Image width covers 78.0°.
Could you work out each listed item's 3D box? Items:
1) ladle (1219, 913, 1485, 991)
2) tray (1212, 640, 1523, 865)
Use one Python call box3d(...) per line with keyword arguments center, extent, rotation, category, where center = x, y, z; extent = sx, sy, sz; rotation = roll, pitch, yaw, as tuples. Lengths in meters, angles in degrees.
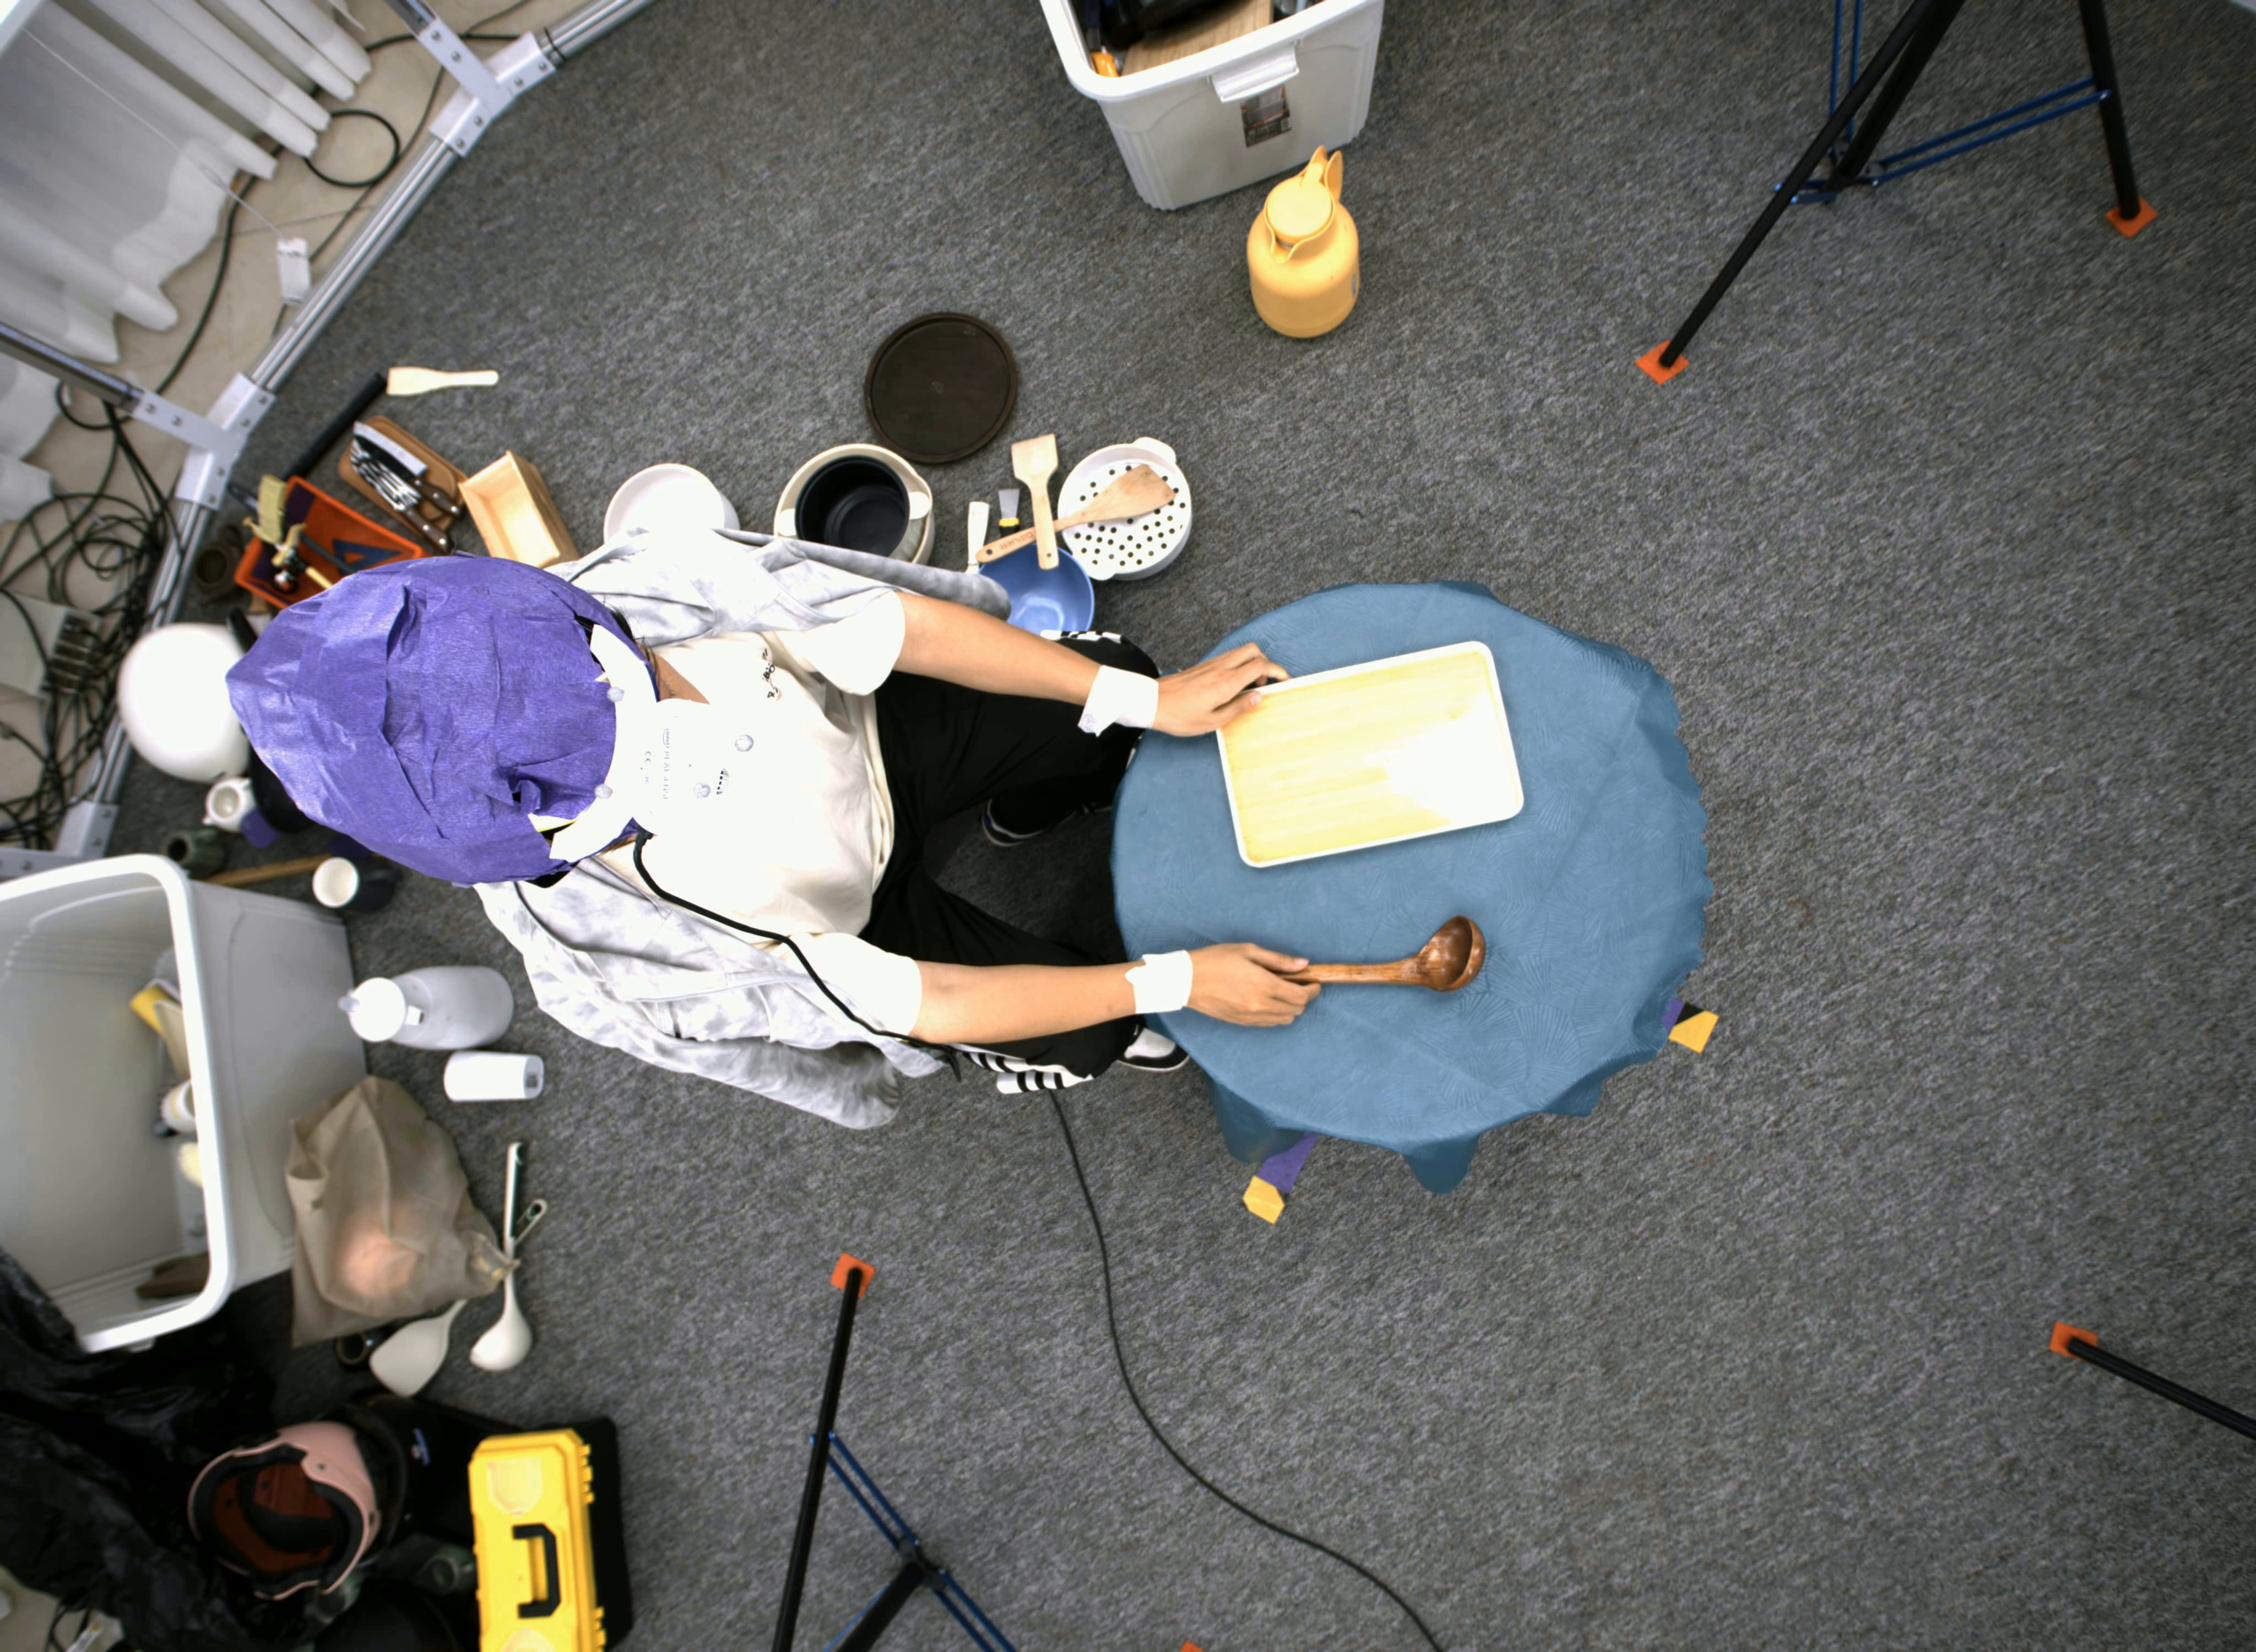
box3d(center=(0.227, 0.133, 1.424), extent=(0.275, 0.078, 0.079), rotation=(-2, 43, 11), category="ladle")
box3d(center=(0.250, -0.078, 1.456), extent=(0.302, 0.027, 0.190), rotation=(-11, 85, 10), category="tray")
